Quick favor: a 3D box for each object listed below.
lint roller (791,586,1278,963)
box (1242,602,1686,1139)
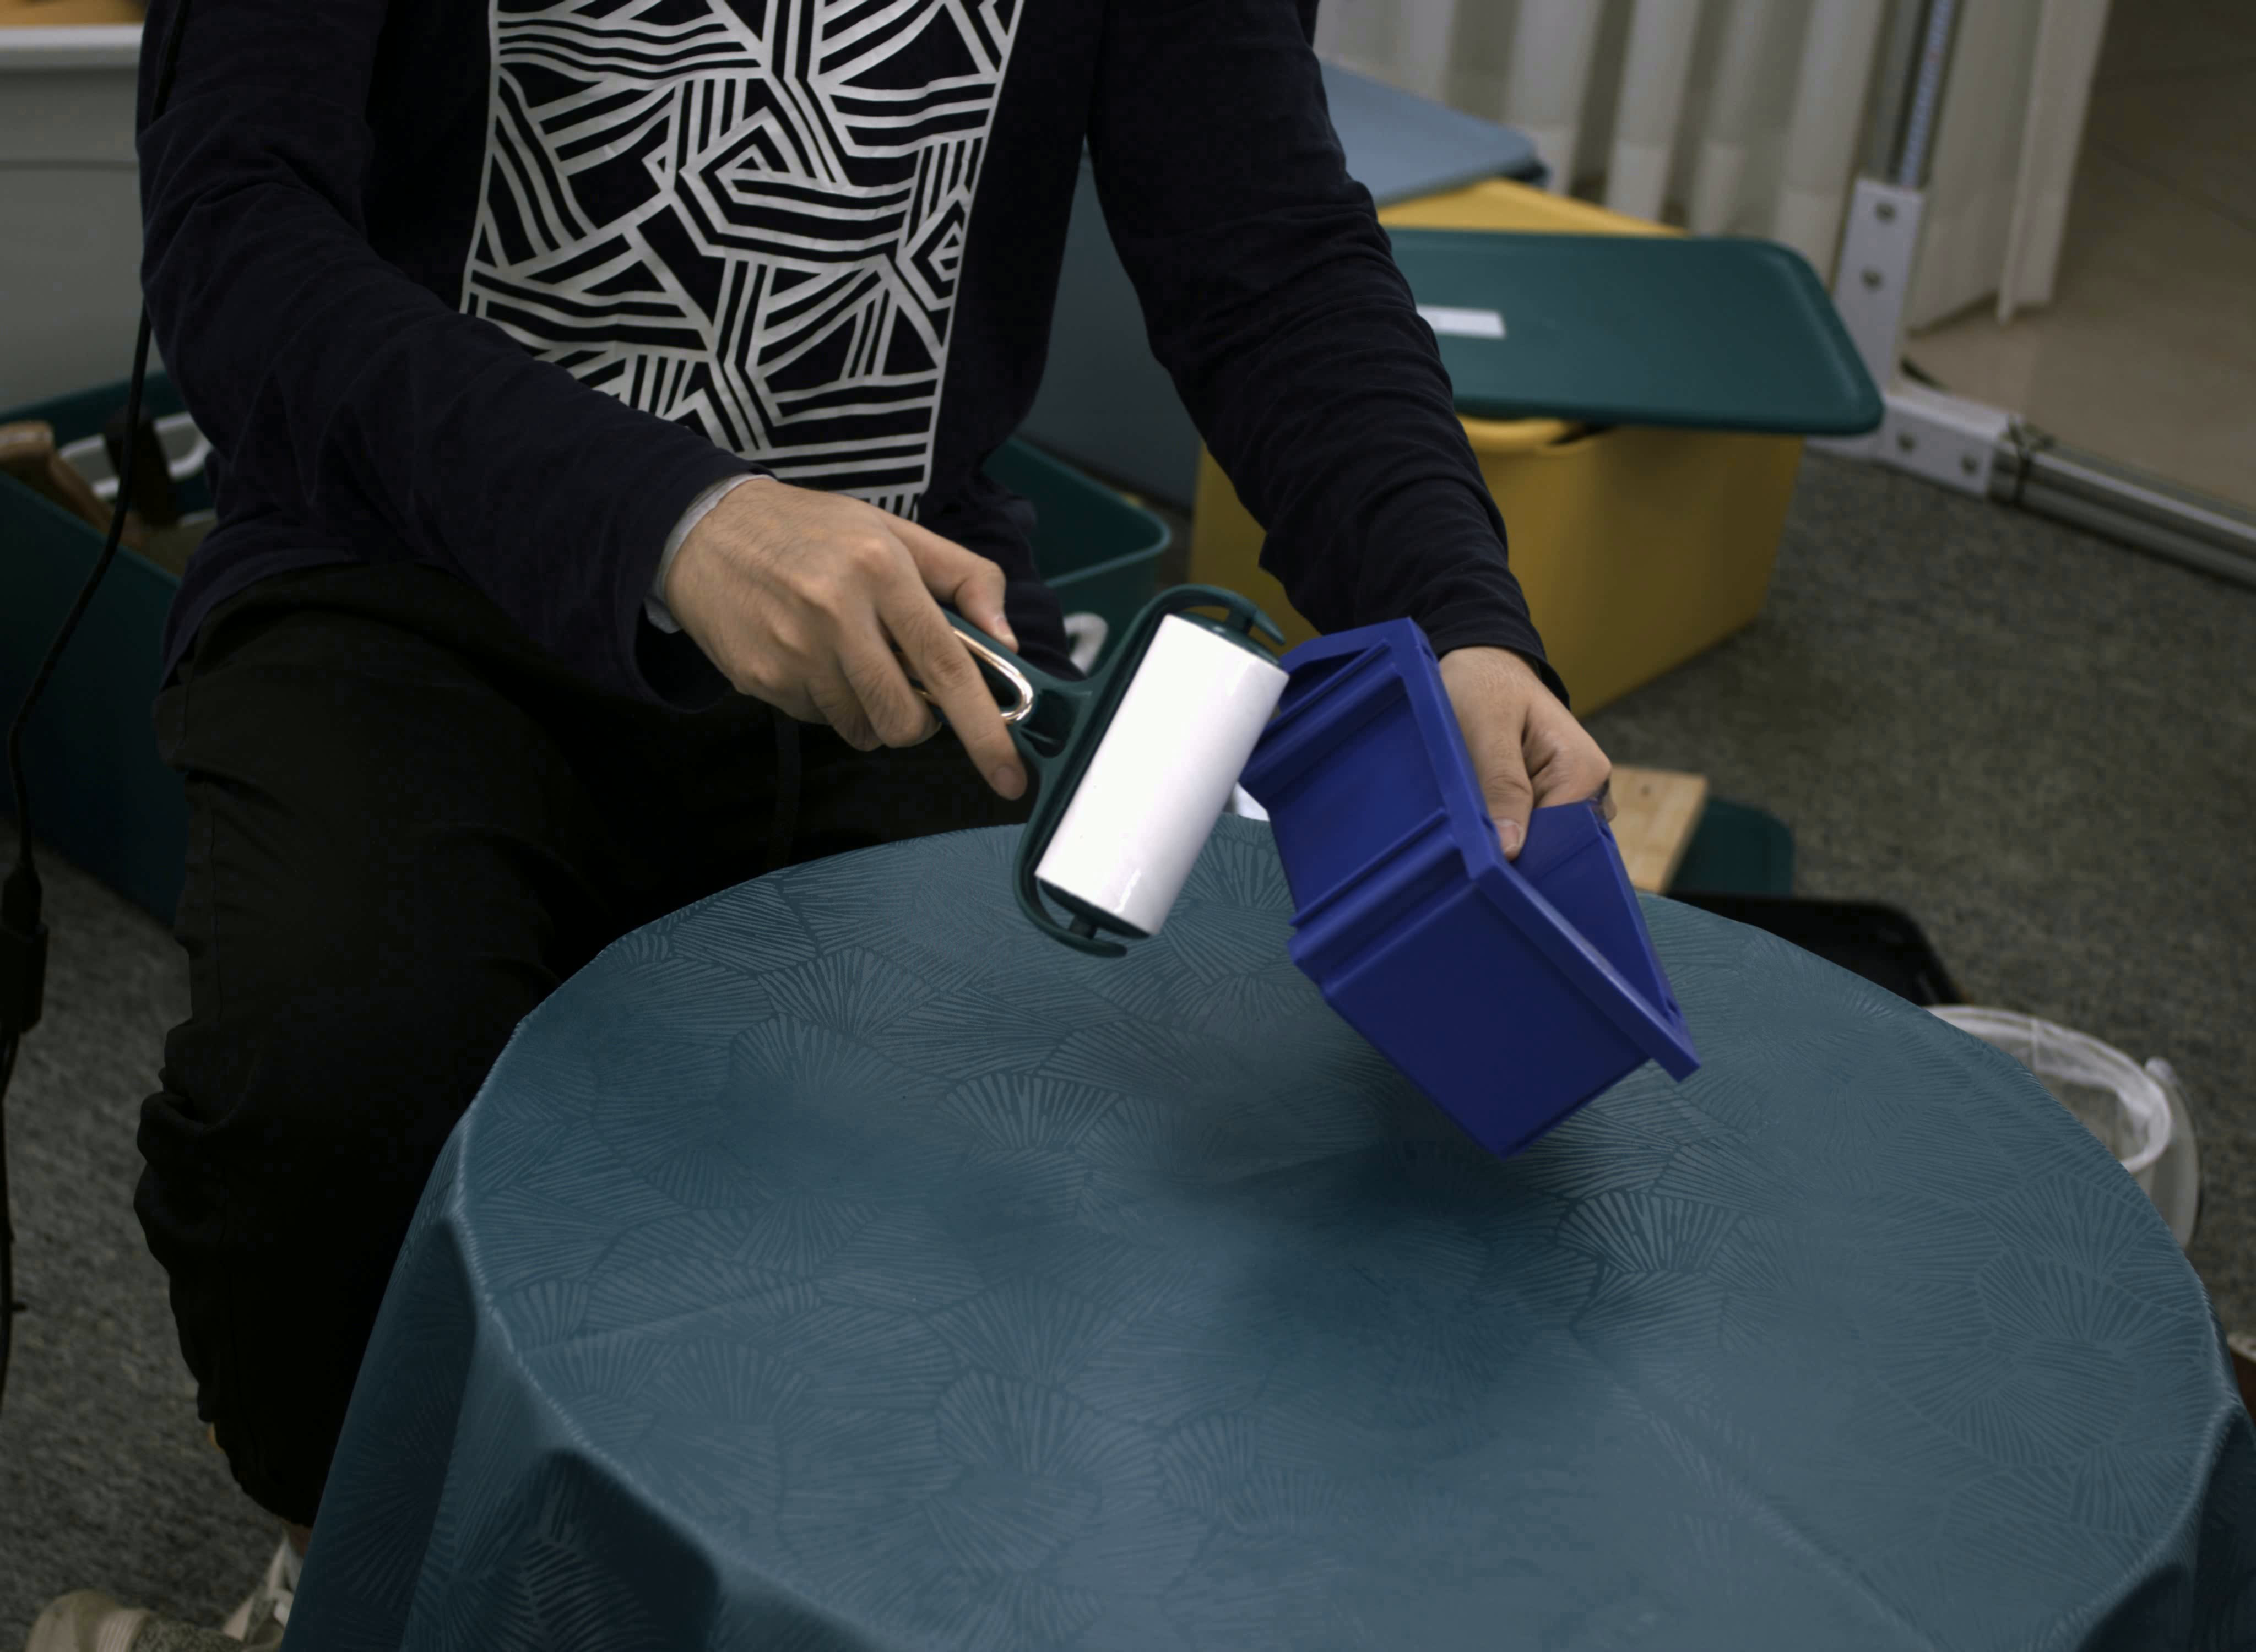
[{"bbox_3d":[-0.047,-0.044,1.823,0.181,0.134,0.048,26,-2,21],"label":"lint roller"},{"bbox_3d":[0.110,0.011,1.840,0.123,0.082,0.181,43,21,-29],"label":"box"}]
